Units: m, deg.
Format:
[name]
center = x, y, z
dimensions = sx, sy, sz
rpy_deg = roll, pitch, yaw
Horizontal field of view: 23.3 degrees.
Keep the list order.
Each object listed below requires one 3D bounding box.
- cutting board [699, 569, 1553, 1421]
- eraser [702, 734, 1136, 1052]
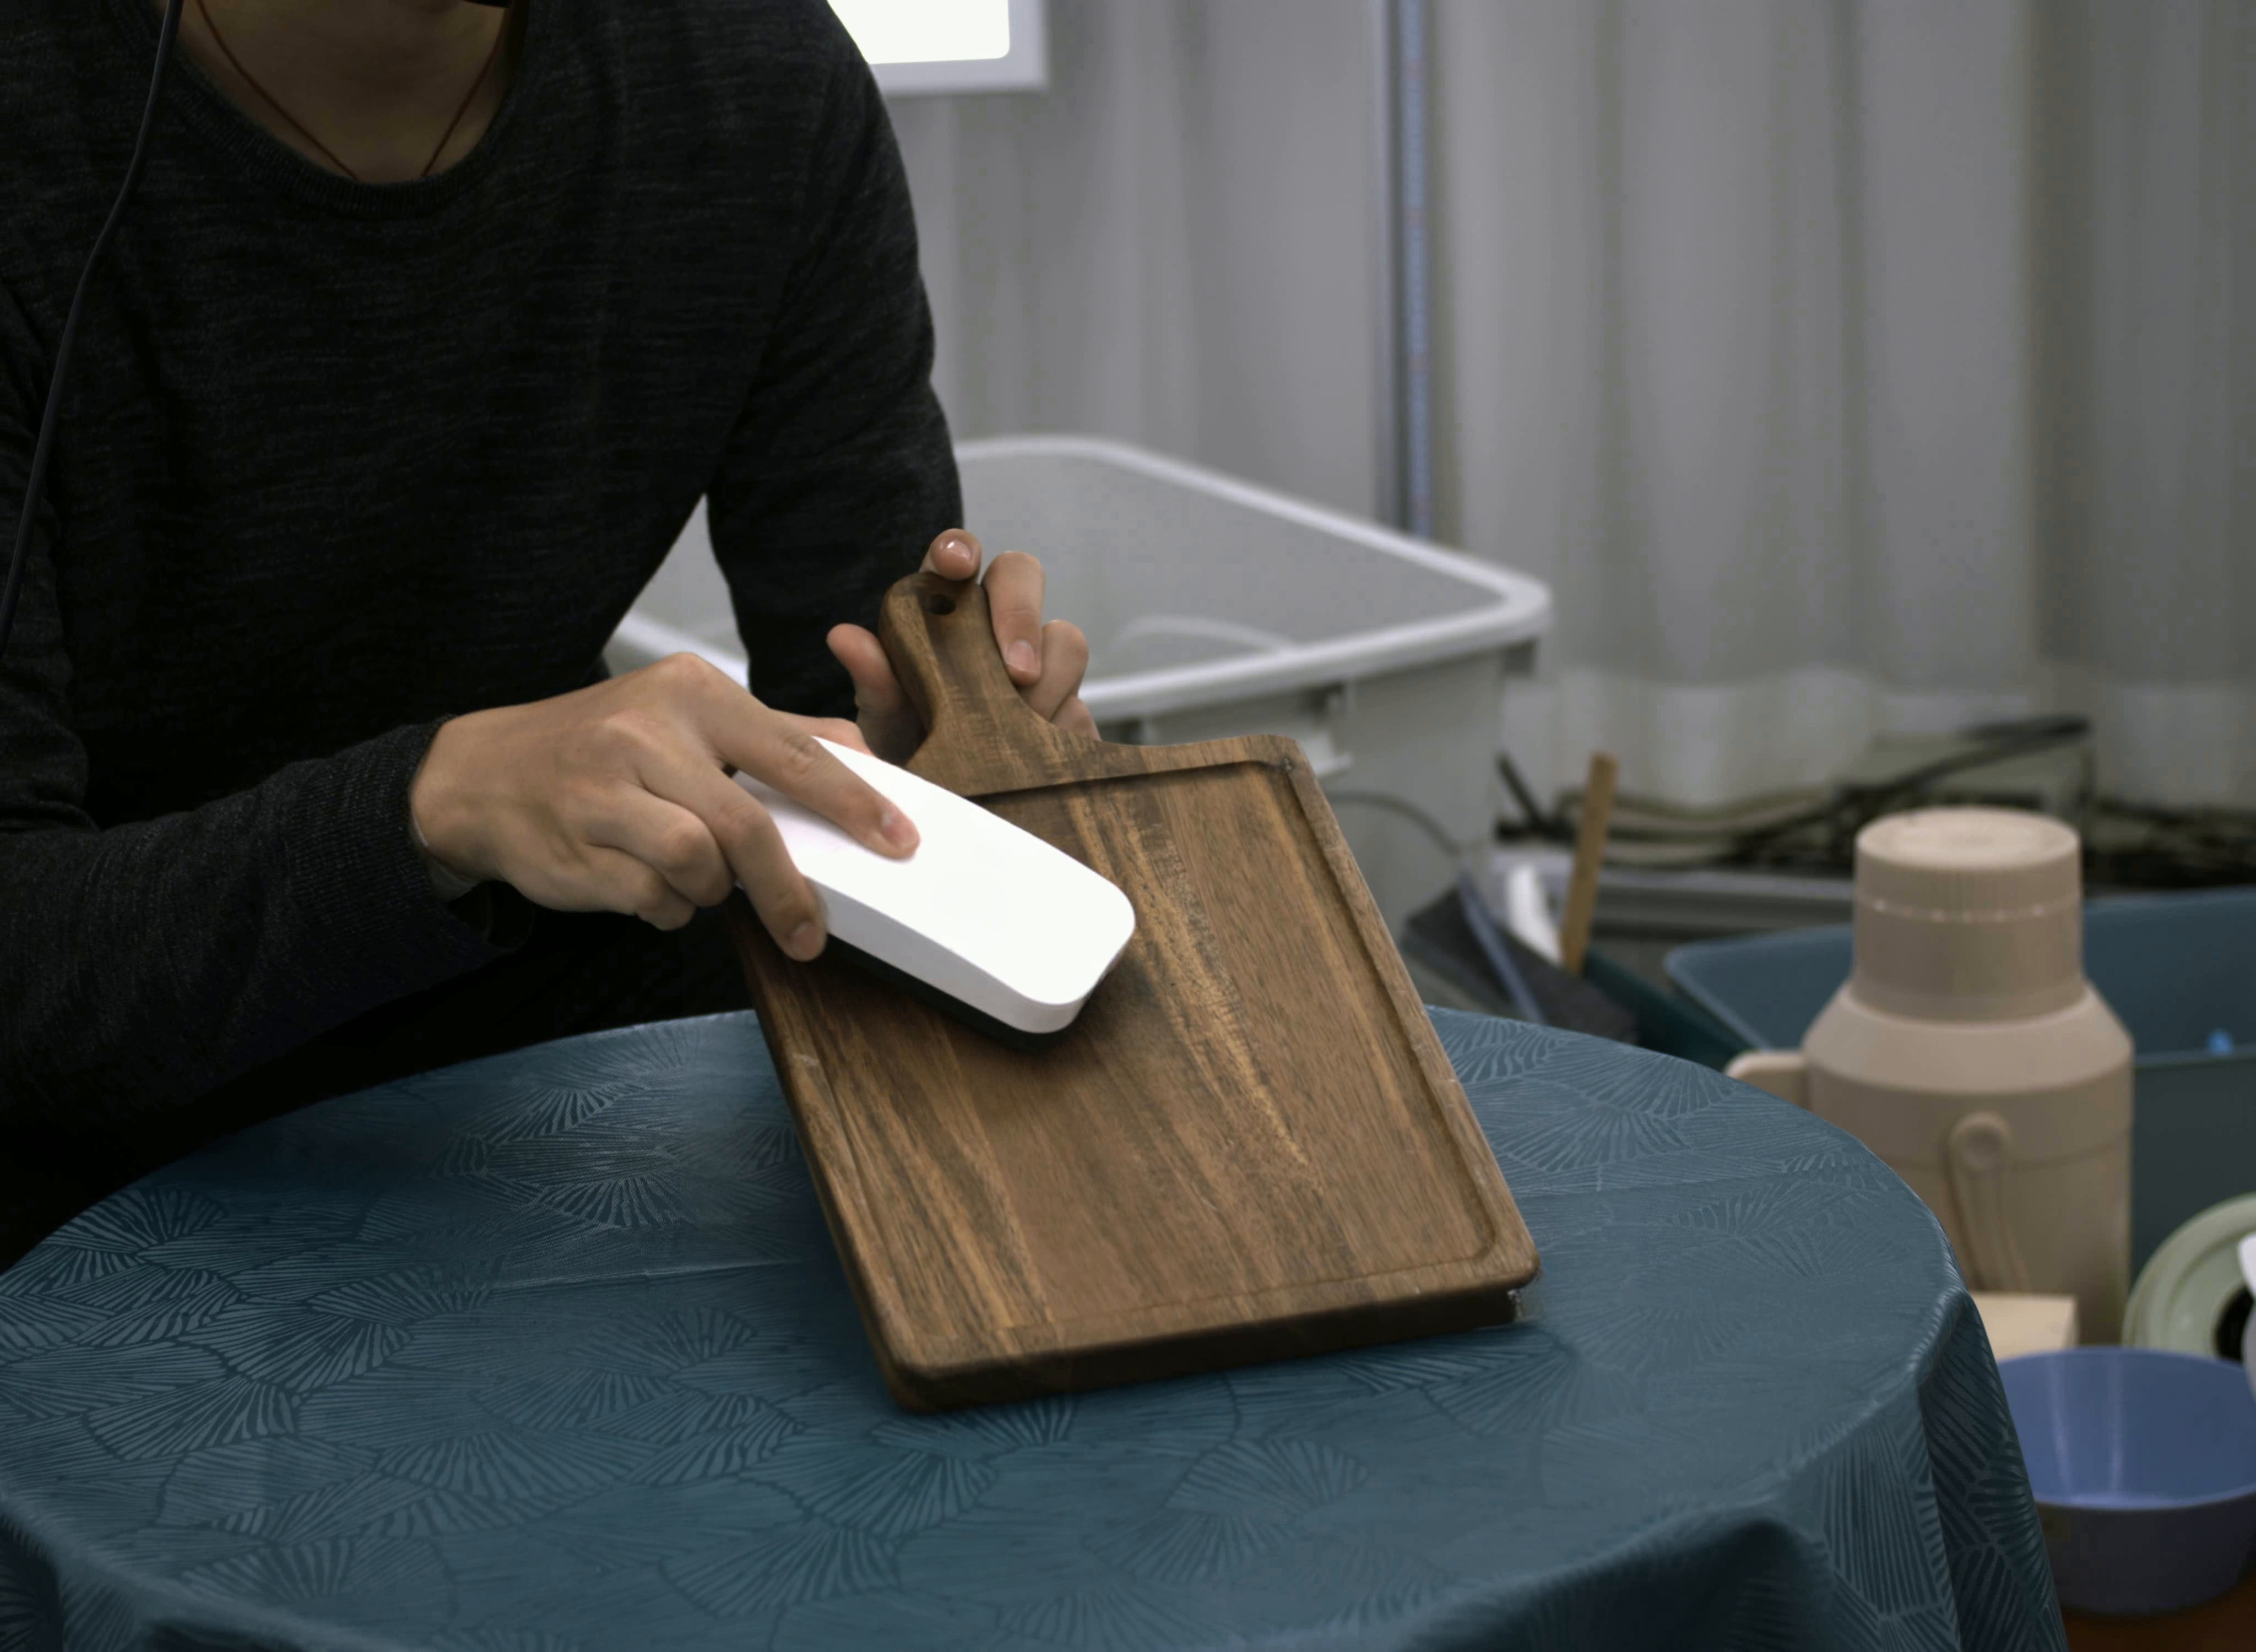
[cutting board]
center = -0.019, 0.036, 1.677
dimensions = 0.200, 0.023, 0.357
rpy_deg = -8, 42, -15
[eraser]
center = -0.063, 0.017, 1.654
dimensions = 0.131, 0.034, 0.064
rpy_deg = 28, 43, 13
